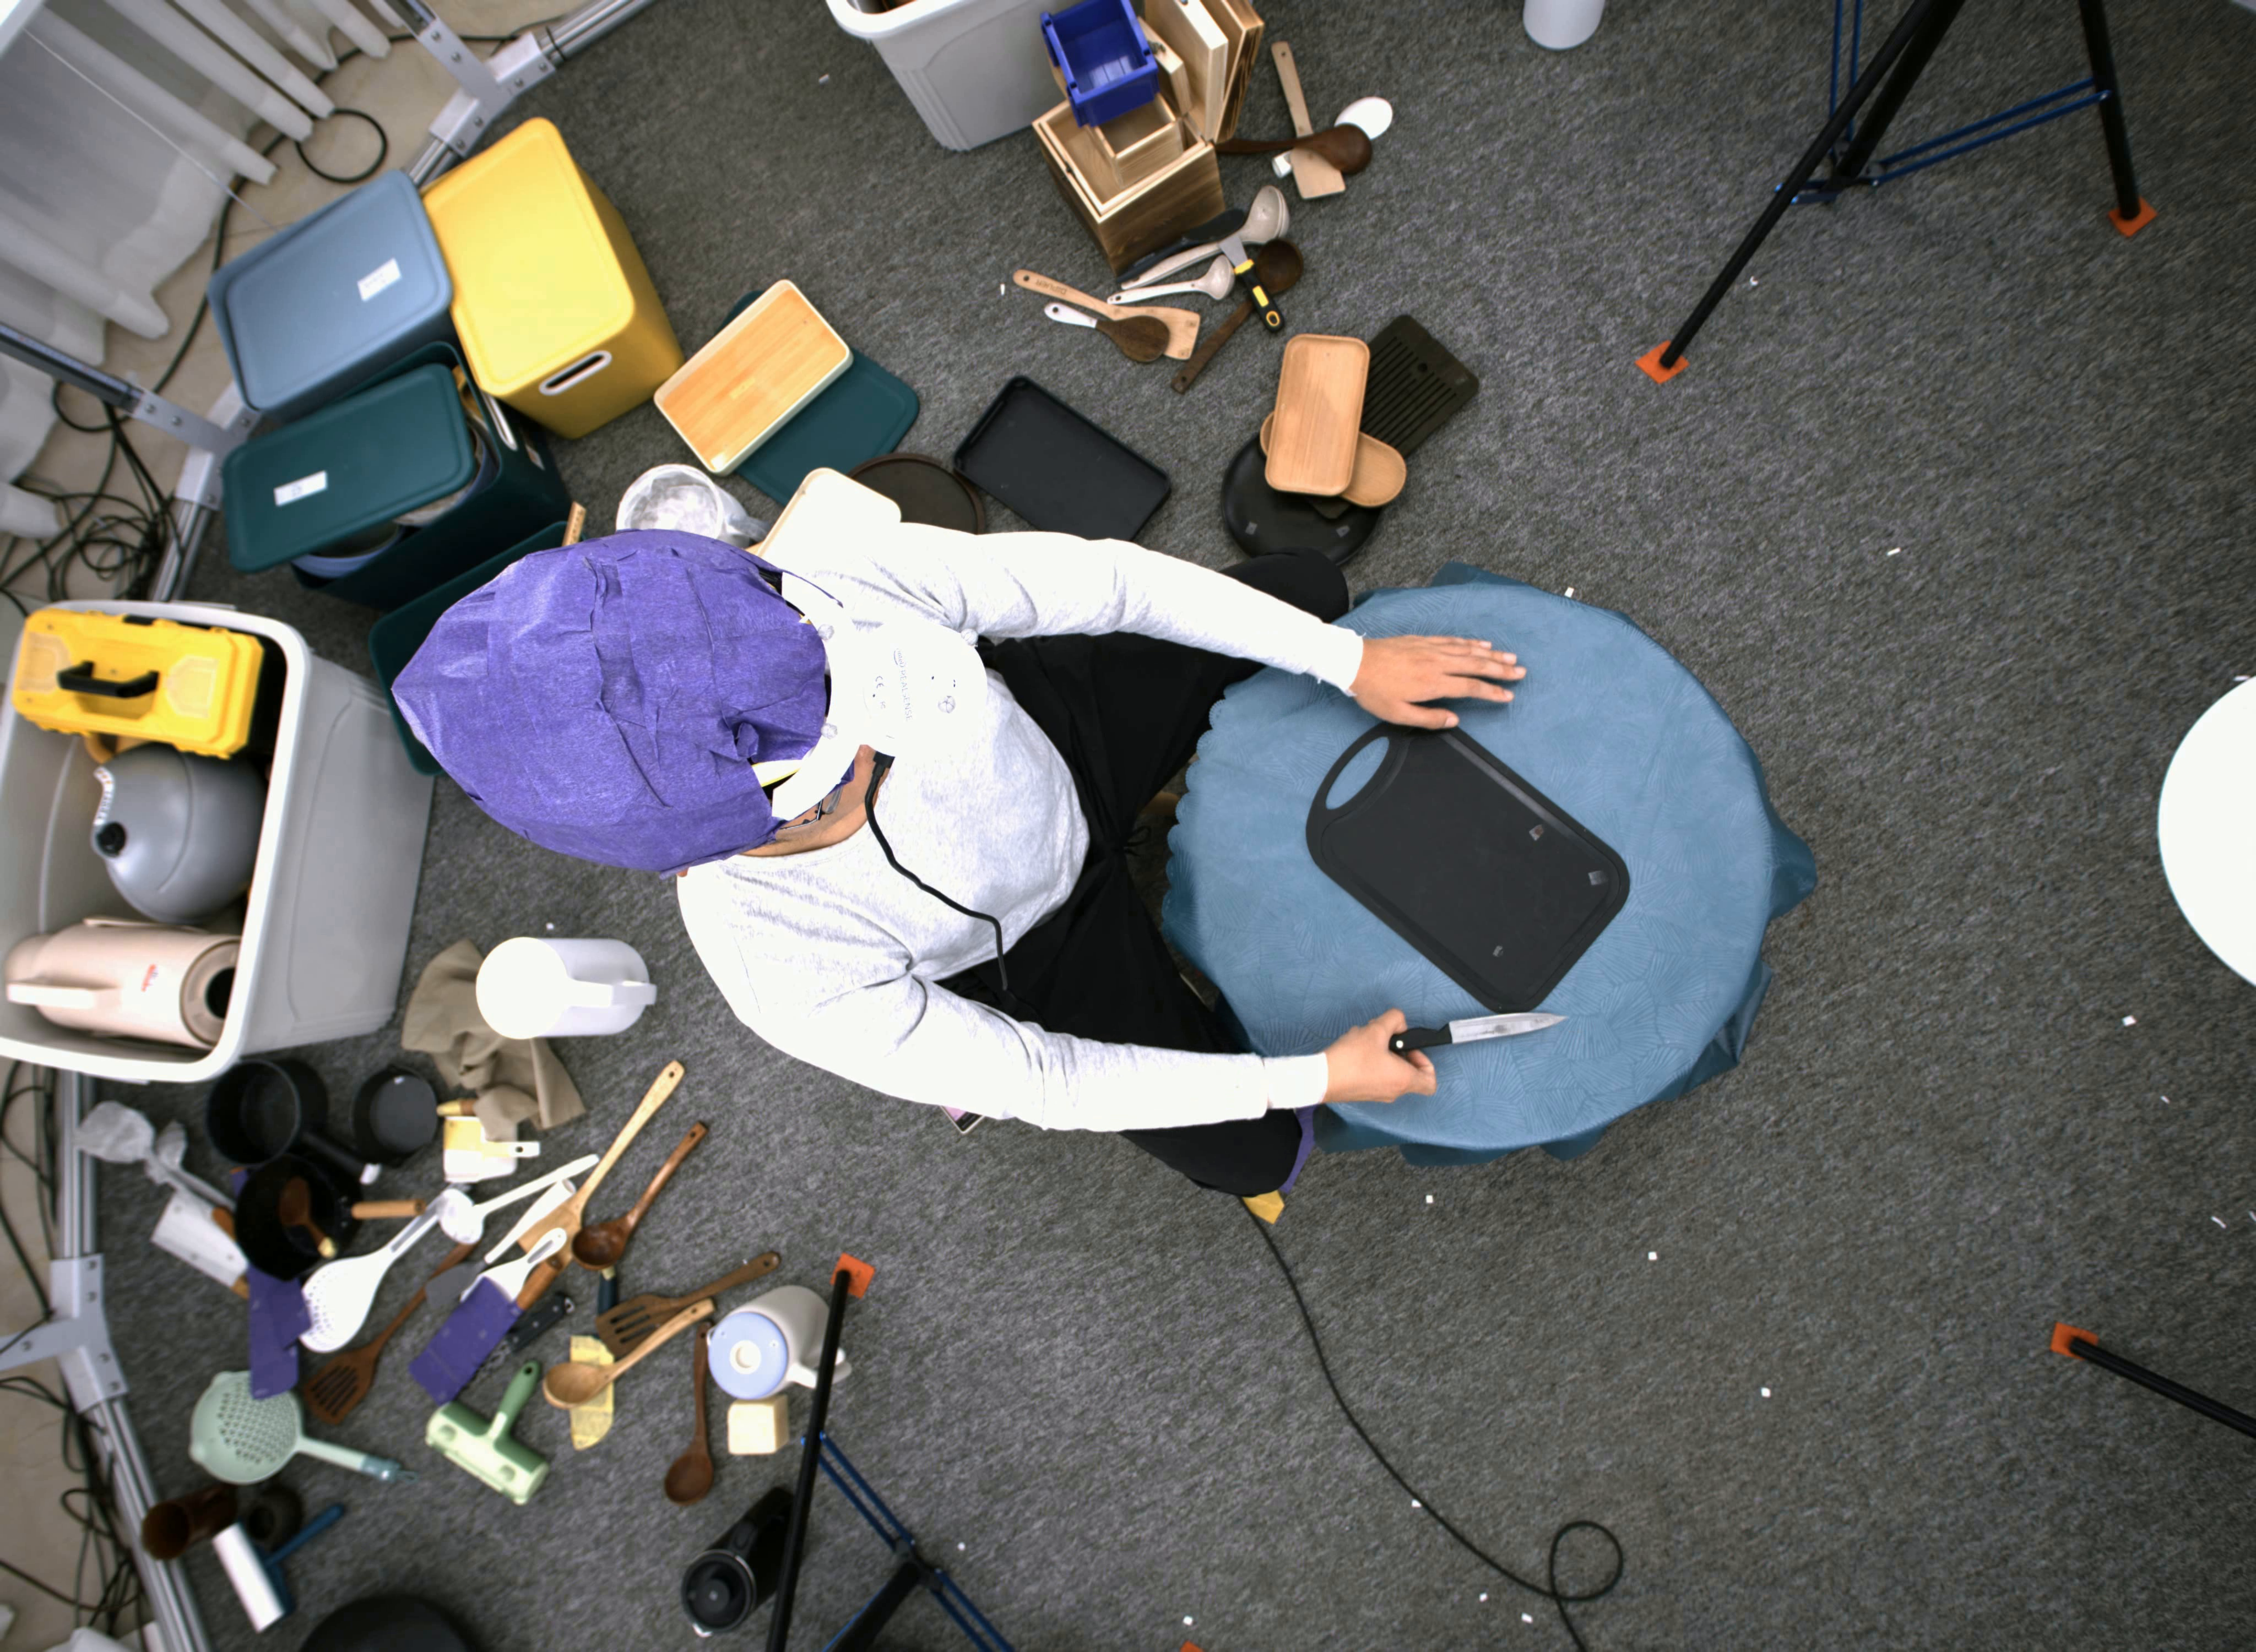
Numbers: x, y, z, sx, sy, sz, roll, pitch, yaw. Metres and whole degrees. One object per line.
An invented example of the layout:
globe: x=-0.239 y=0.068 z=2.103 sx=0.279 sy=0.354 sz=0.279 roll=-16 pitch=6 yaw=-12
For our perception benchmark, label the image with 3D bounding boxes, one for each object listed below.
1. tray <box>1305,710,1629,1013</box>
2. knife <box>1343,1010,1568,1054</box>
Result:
tray: x=0.346 y=0.028 z=1.445 sx=0.324 sy=0.010 sz=0.212 roll=41 pitch=94 yaw=10
knife: x=0.338 y=0.208 z=1.413 sx=0.238 sy=0.016 sz=0.024 roll=-7 pitch=84 yaw=-3
